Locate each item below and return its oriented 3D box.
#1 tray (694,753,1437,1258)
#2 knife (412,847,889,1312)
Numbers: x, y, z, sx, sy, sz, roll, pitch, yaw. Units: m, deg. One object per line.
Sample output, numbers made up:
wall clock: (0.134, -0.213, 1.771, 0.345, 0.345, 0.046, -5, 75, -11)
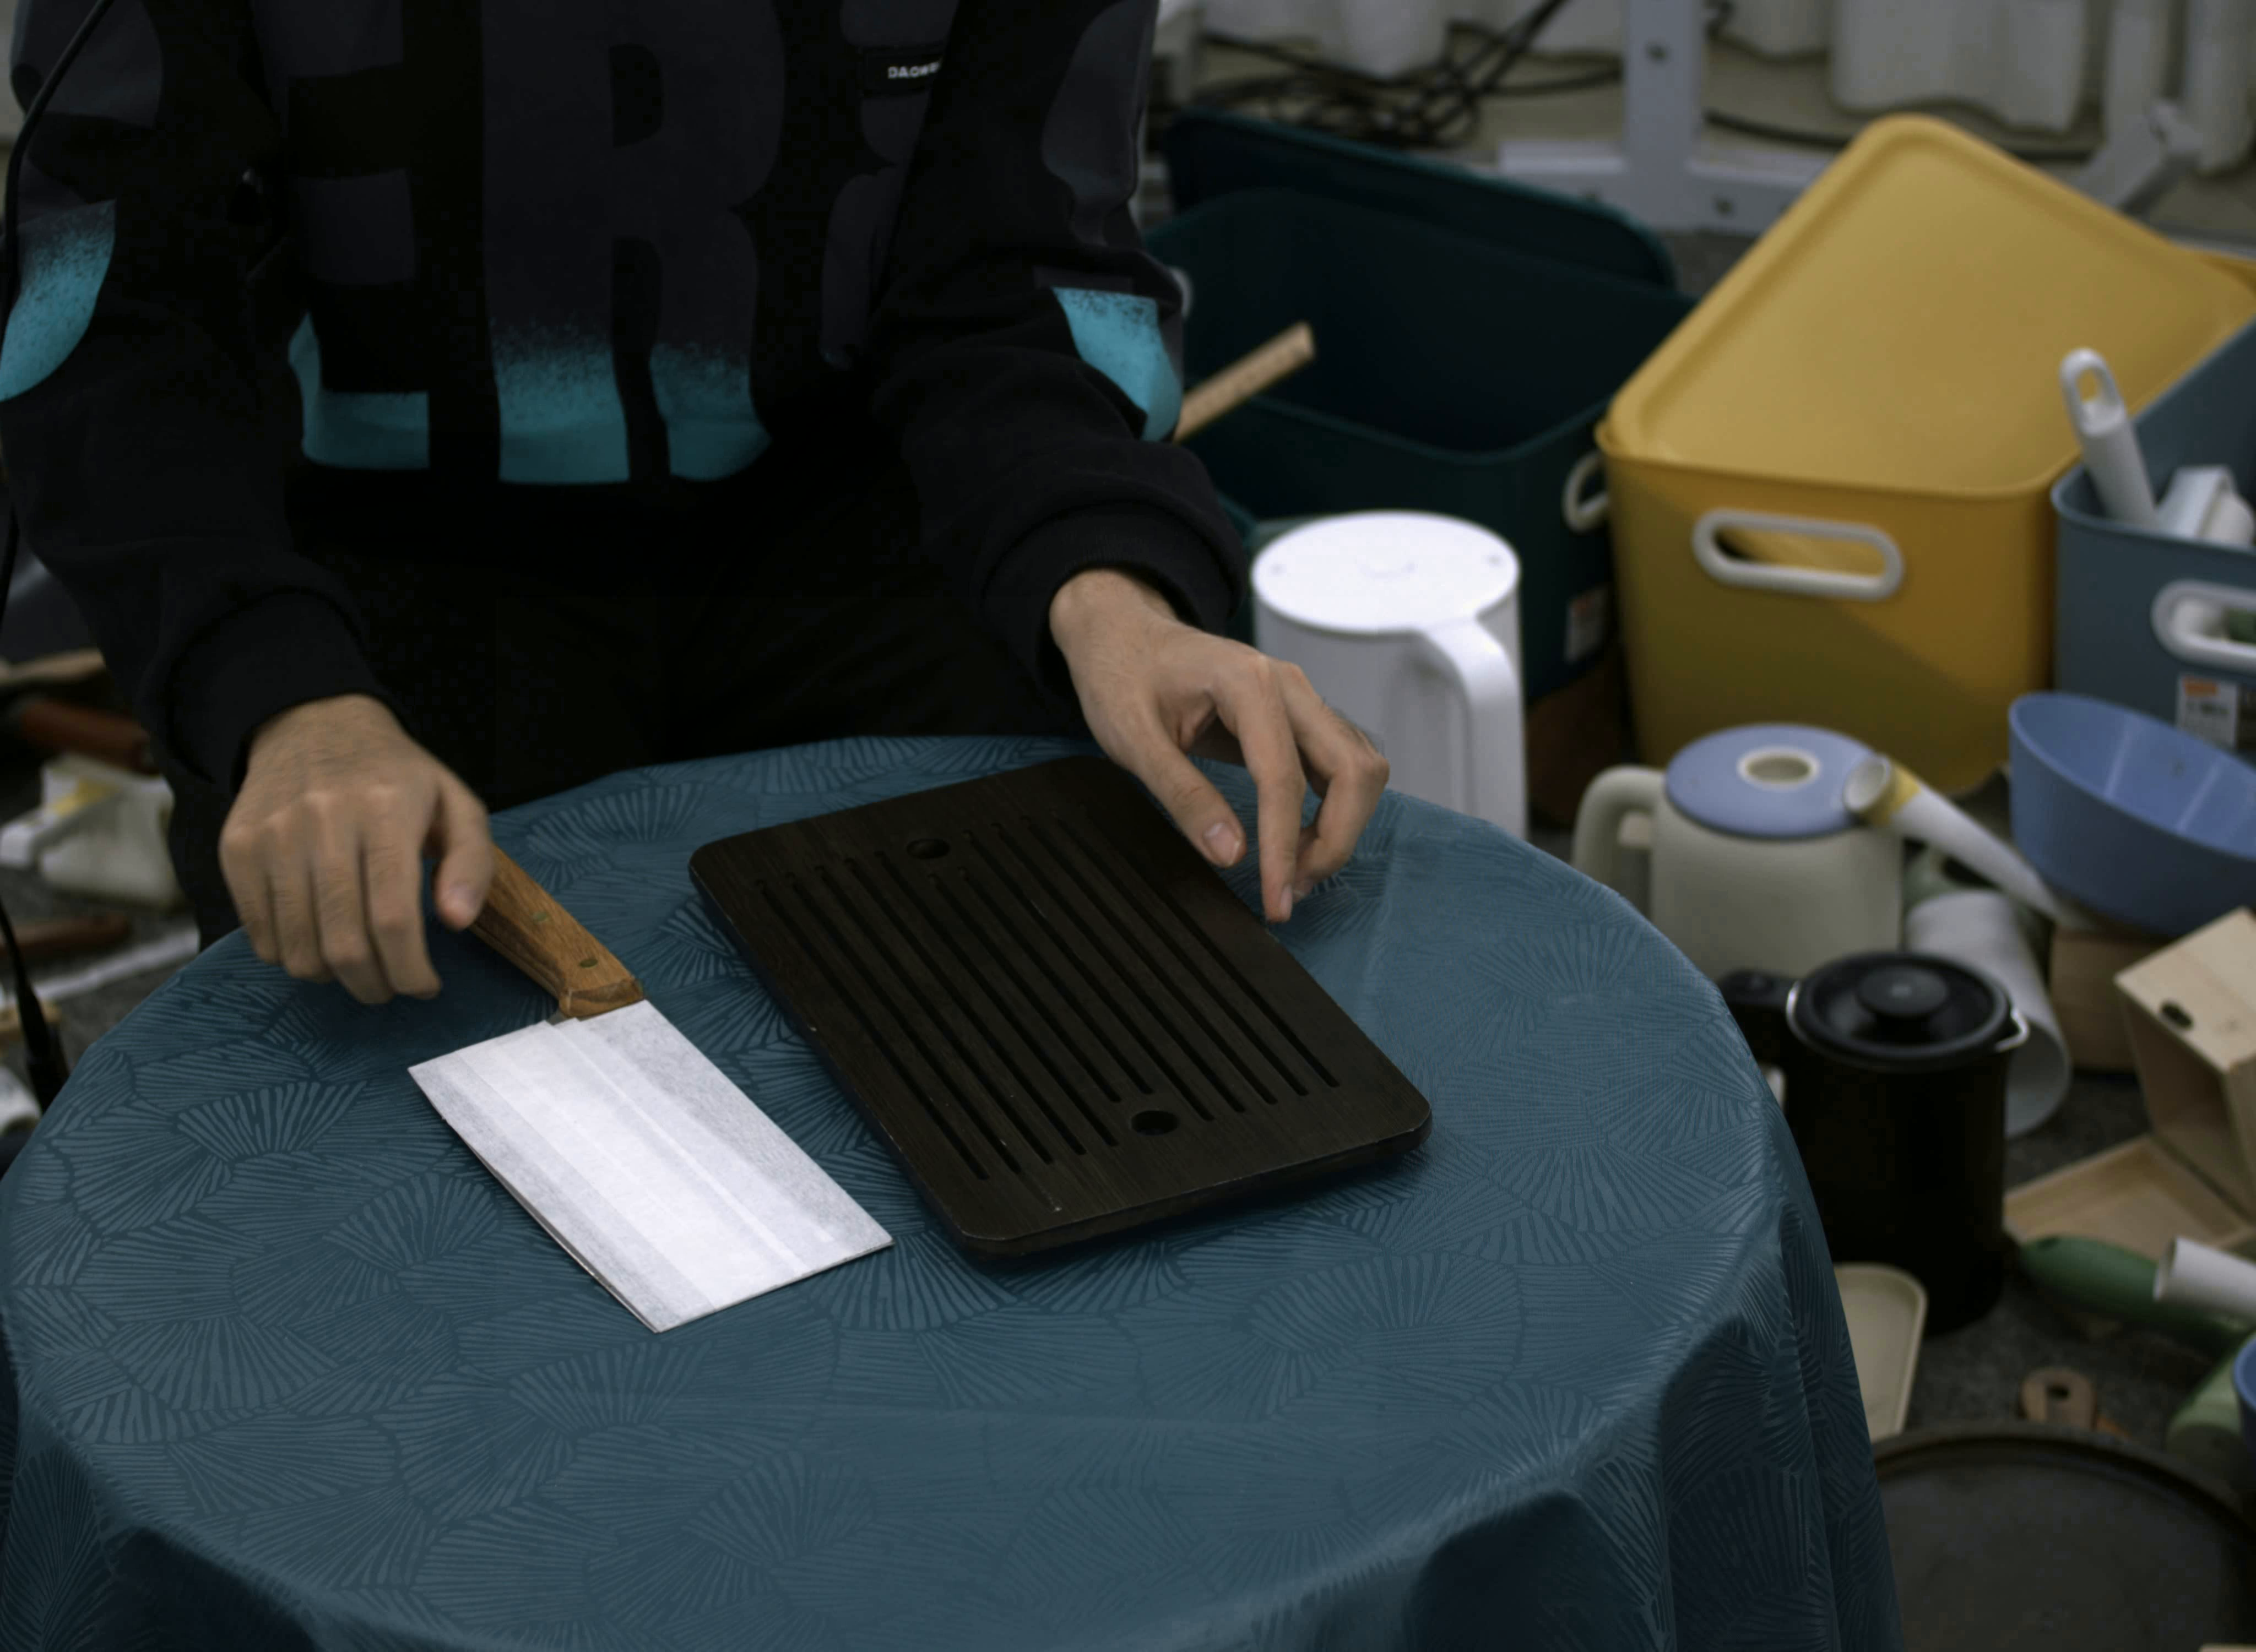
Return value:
tray: (-0.028, 0.059, 1.965, 0.170, 0.018, 0.308, -13, 29, -18)
knife: (-0.191, 0.087, 1.931, 0.093, 0.021, 0.307, -19, 34, -25)
